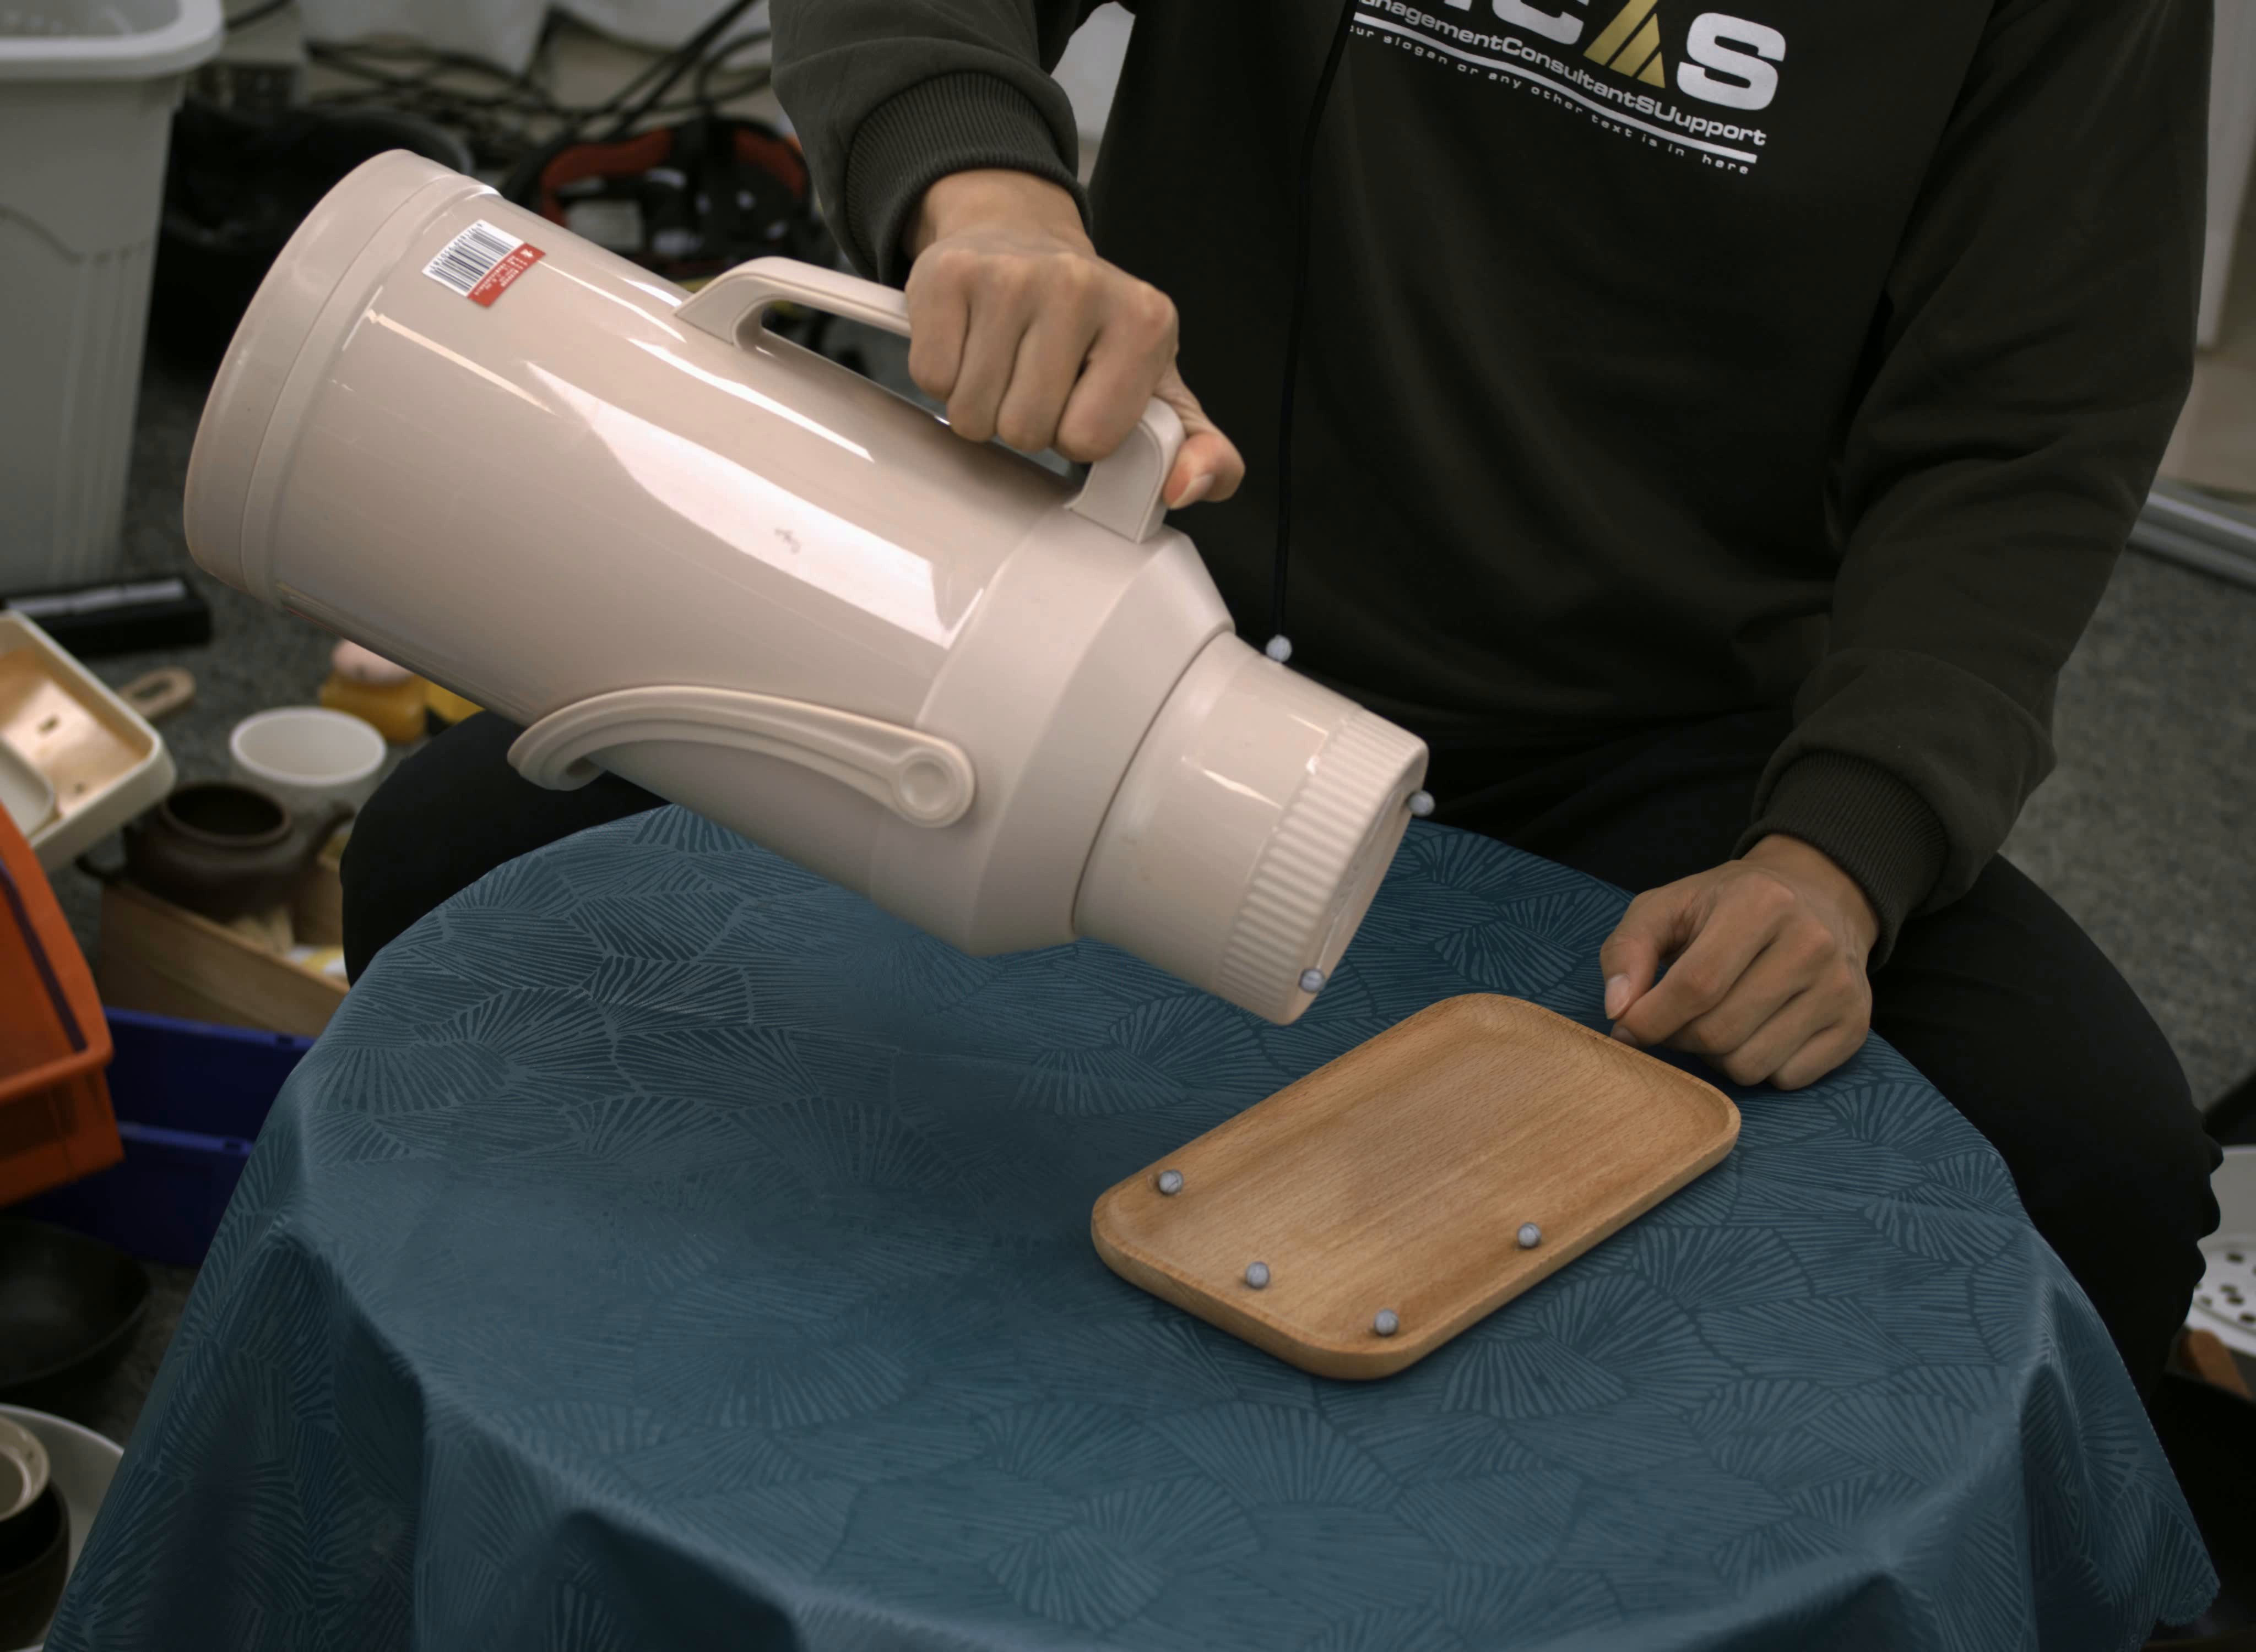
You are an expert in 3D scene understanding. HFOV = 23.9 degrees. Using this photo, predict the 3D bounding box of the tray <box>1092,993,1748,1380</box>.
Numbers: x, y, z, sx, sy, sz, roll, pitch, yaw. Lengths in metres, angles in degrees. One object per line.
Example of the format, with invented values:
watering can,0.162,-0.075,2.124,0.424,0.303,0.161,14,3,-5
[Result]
tray,0.102,0.121,1.819,0.131,0.023,0.250,27,32,30

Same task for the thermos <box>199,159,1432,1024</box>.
thermos,-0.095,-0.082,1.769,0.407,0.207,0.175,27,24,12
